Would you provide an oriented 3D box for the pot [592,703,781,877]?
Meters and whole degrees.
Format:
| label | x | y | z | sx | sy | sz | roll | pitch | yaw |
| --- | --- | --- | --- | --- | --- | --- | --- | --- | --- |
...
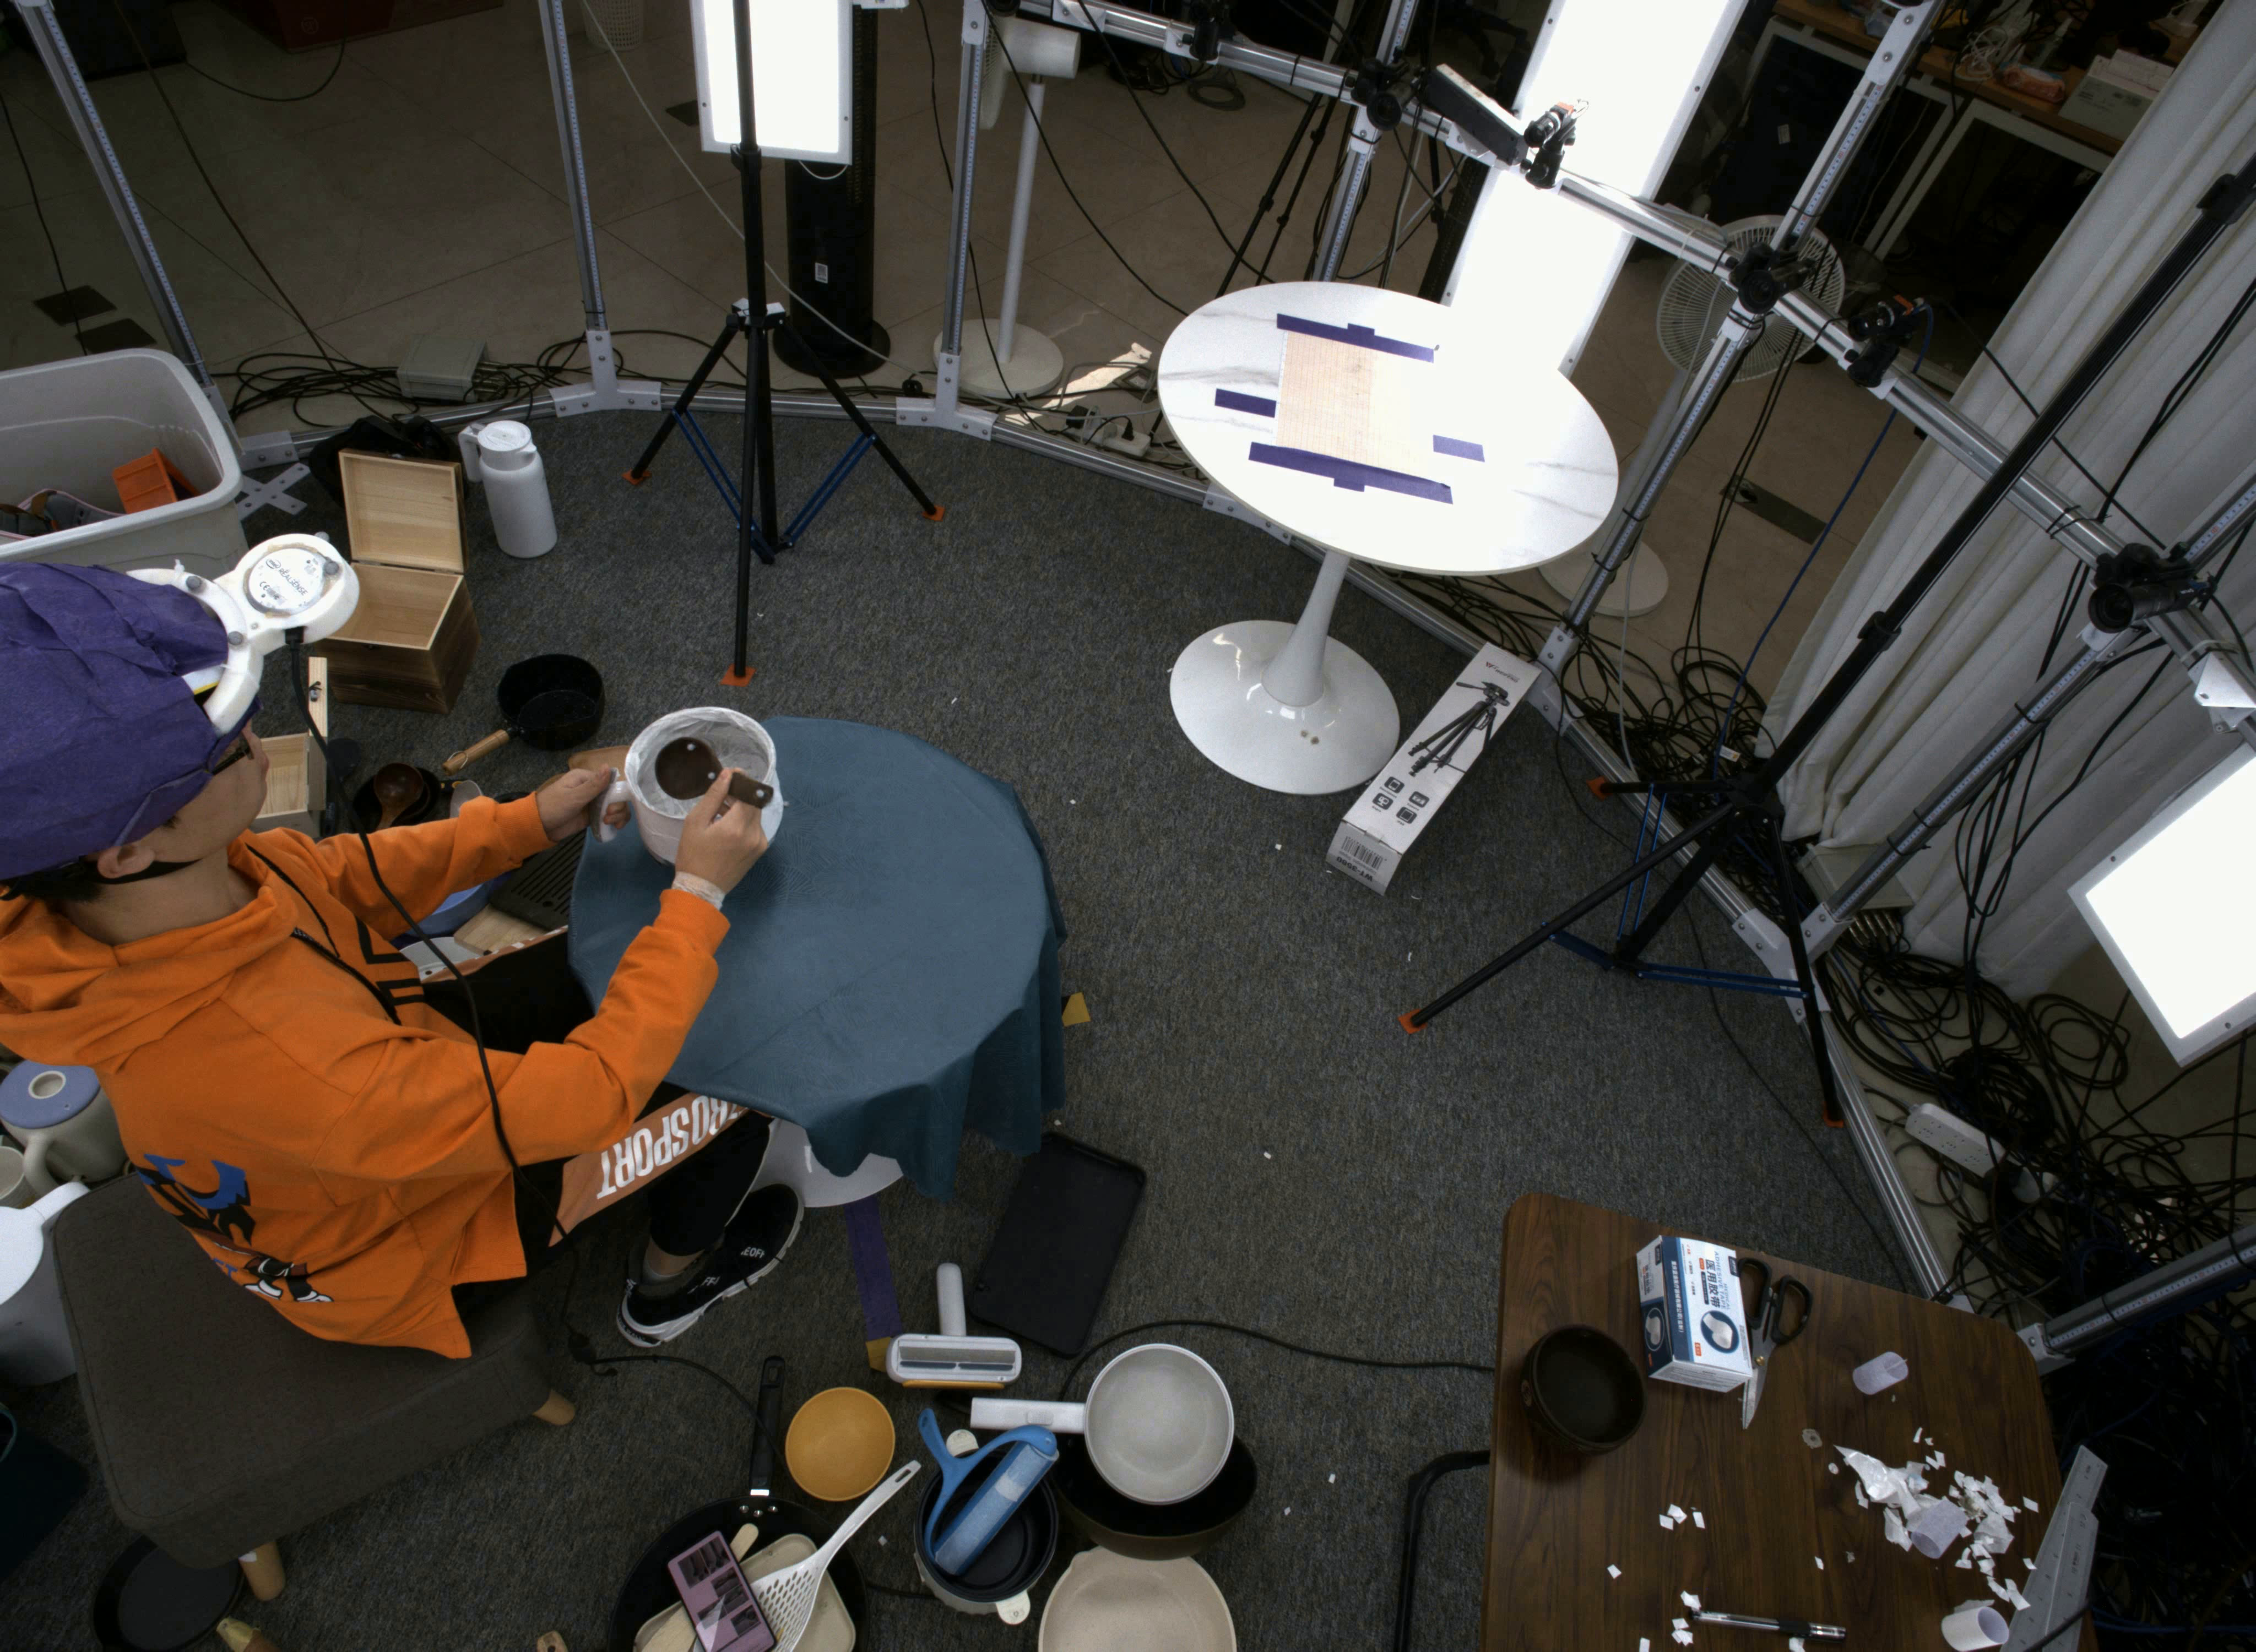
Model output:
| label | x | y | z | sx | sy | sz | roll | pitch | yaw |
| --- | --- | --- | --- | --- | --- | --- | --- | --- | --- |
| pot | -0.541 | -0.036 | 1.559 | 0.234 | 0.140 | 0.174 | -10 | 55 | -17 |

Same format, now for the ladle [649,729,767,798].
| label | x | y | z | sx | sy | sz | roll | pitch | yaw |
| --- | --- | --- | --- | --- | --- | --- | --- | --- | --- |
| ladle | -0.458 | -0.062 | 1.386 | 0.073 | 0.265 | 0.077 | 13 | 90 | -32 |
